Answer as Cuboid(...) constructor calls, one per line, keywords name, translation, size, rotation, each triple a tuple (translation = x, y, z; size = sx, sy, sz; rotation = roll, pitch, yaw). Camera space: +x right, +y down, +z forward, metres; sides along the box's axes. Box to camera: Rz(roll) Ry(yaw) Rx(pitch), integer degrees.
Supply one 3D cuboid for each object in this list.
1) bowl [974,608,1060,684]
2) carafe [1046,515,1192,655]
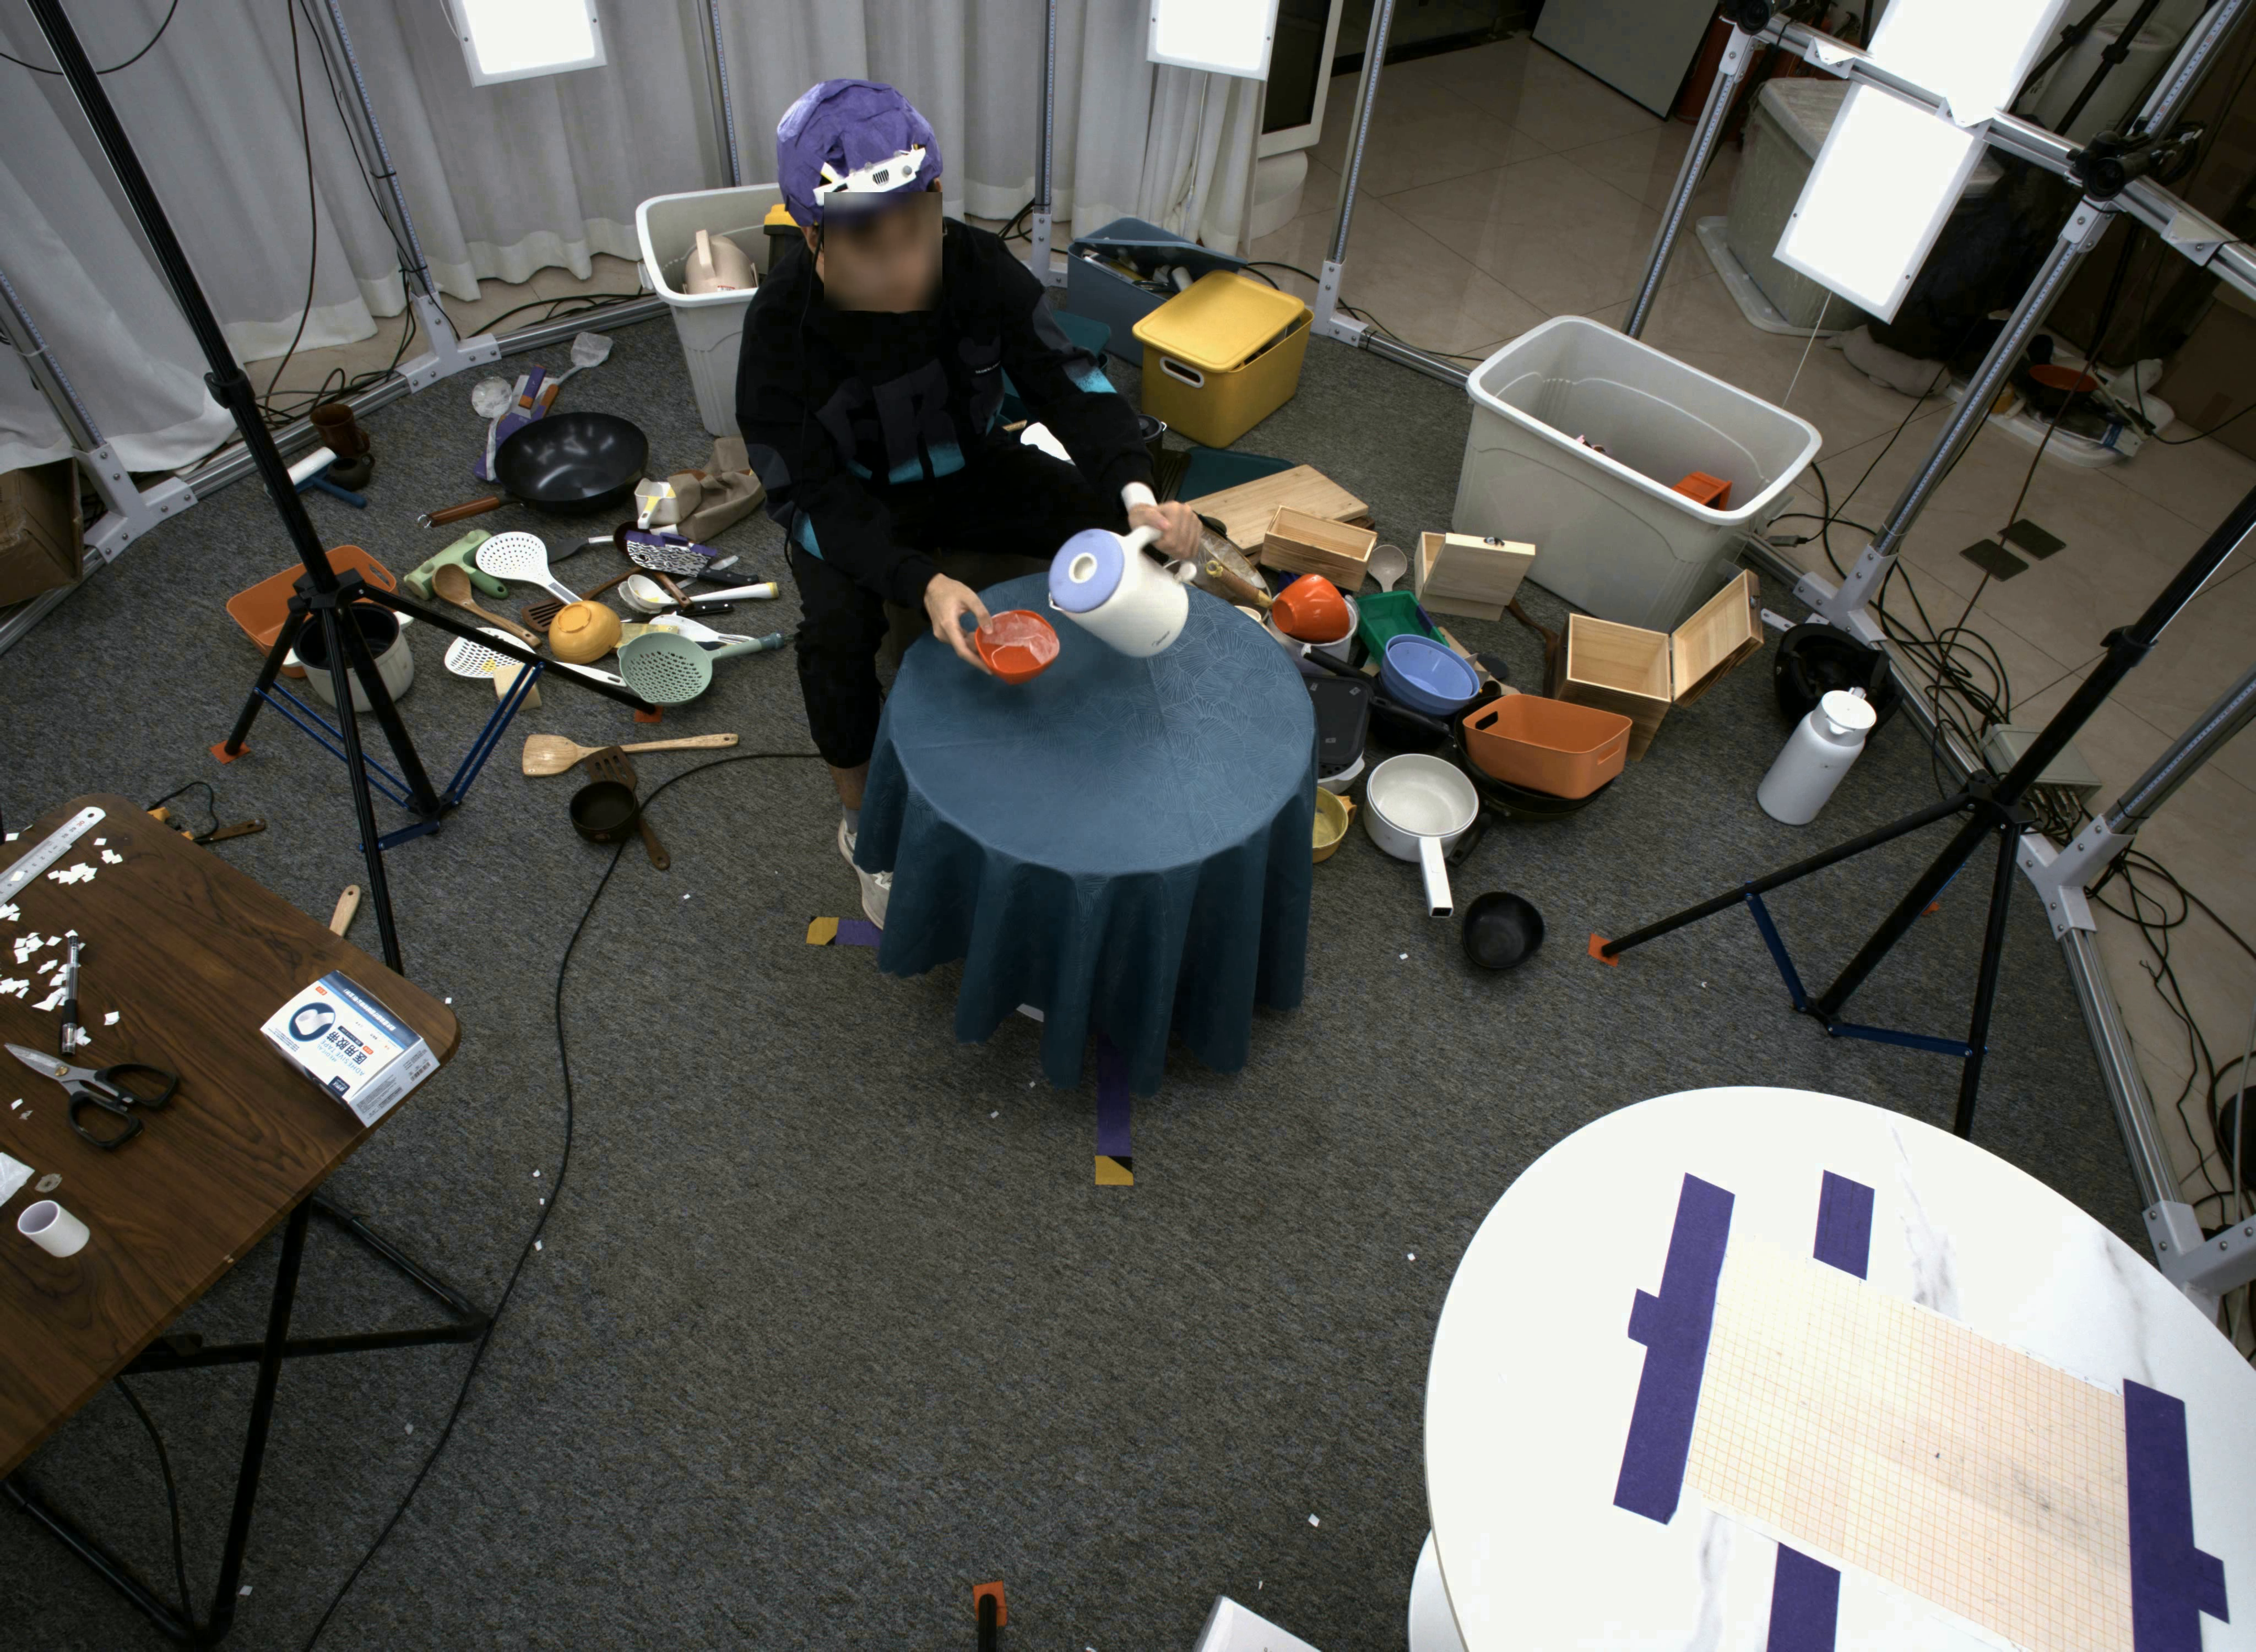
Cuboid(name="bowl", translation=(-0.153, -0.241, 1.775), size=(0.119, 0.050, 0.121), rotation=(2, 57, -3))
Cuboid(name="carafe", translation=(0.002, -0.336, 1.751), size=(0.190, 0.180, 0.135), rotation=(-43, 58, 15))
